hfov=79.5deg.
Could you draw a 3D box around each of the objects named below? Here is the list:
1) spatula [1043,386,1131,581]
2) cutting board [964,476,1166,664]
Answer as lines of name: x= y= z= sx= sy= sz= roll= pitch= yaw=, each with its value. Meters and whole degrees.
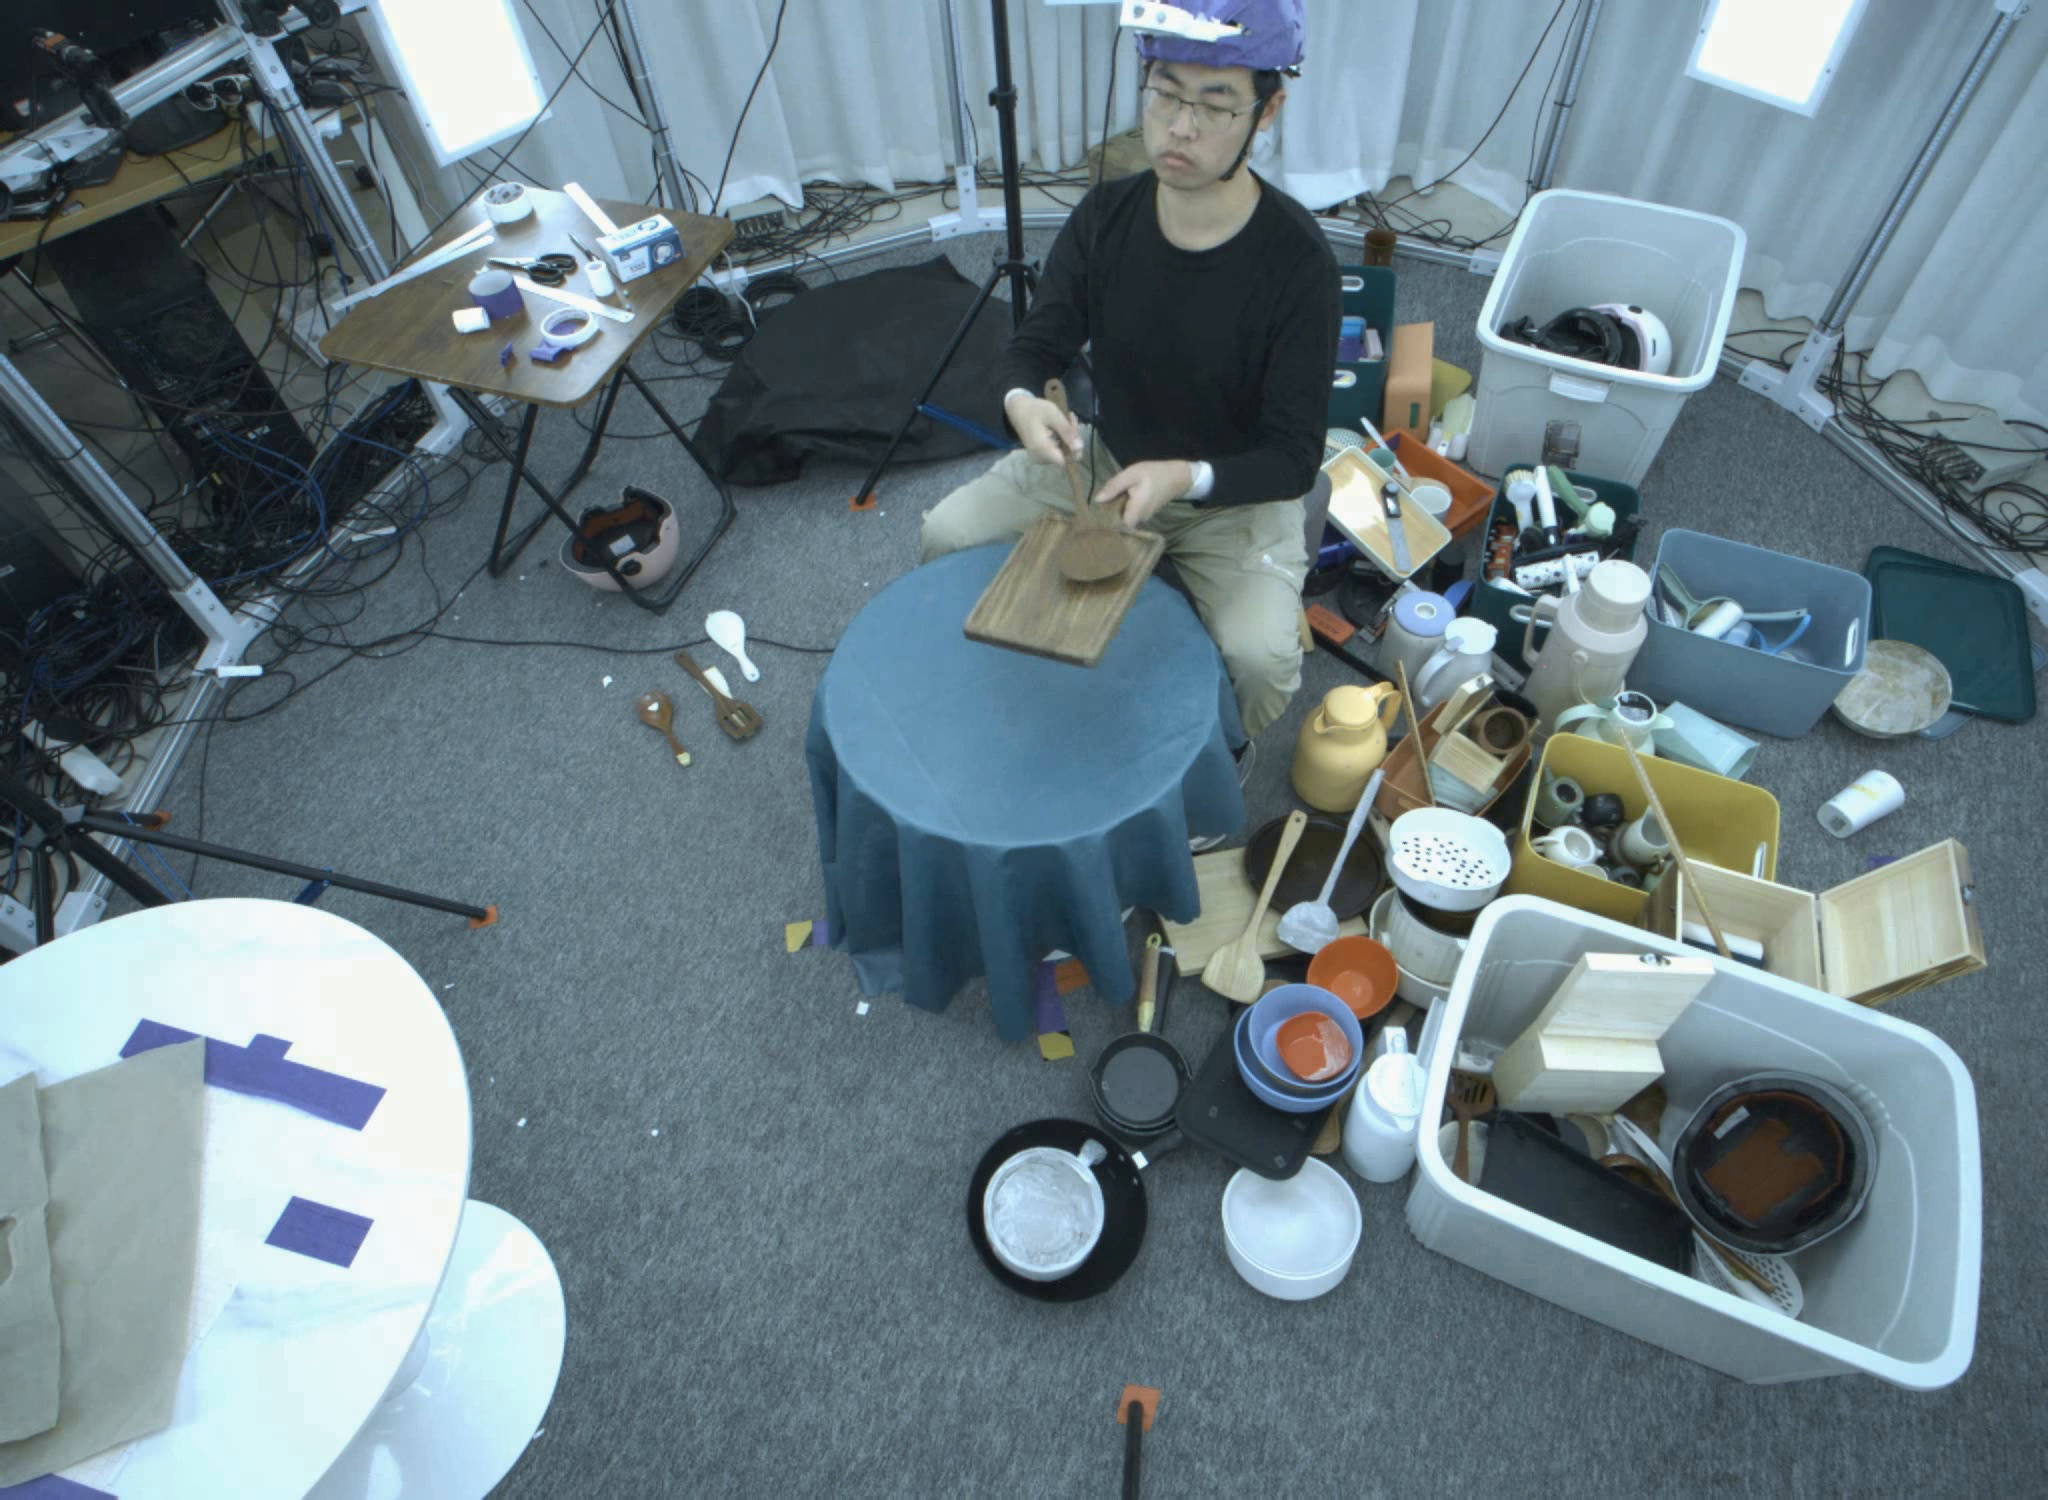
spatula: x=0.068 y=-0.388 z=1.713 sx=0.096 sy=0.016 sz=0.381 roll=-12 pitch=61 yaw=1
cutting board: x=0.078 y=-0.261 z=1.678 sx=0.198 sy=0.023 sz=0.352 roll=15 pitch=55 yaw=21
